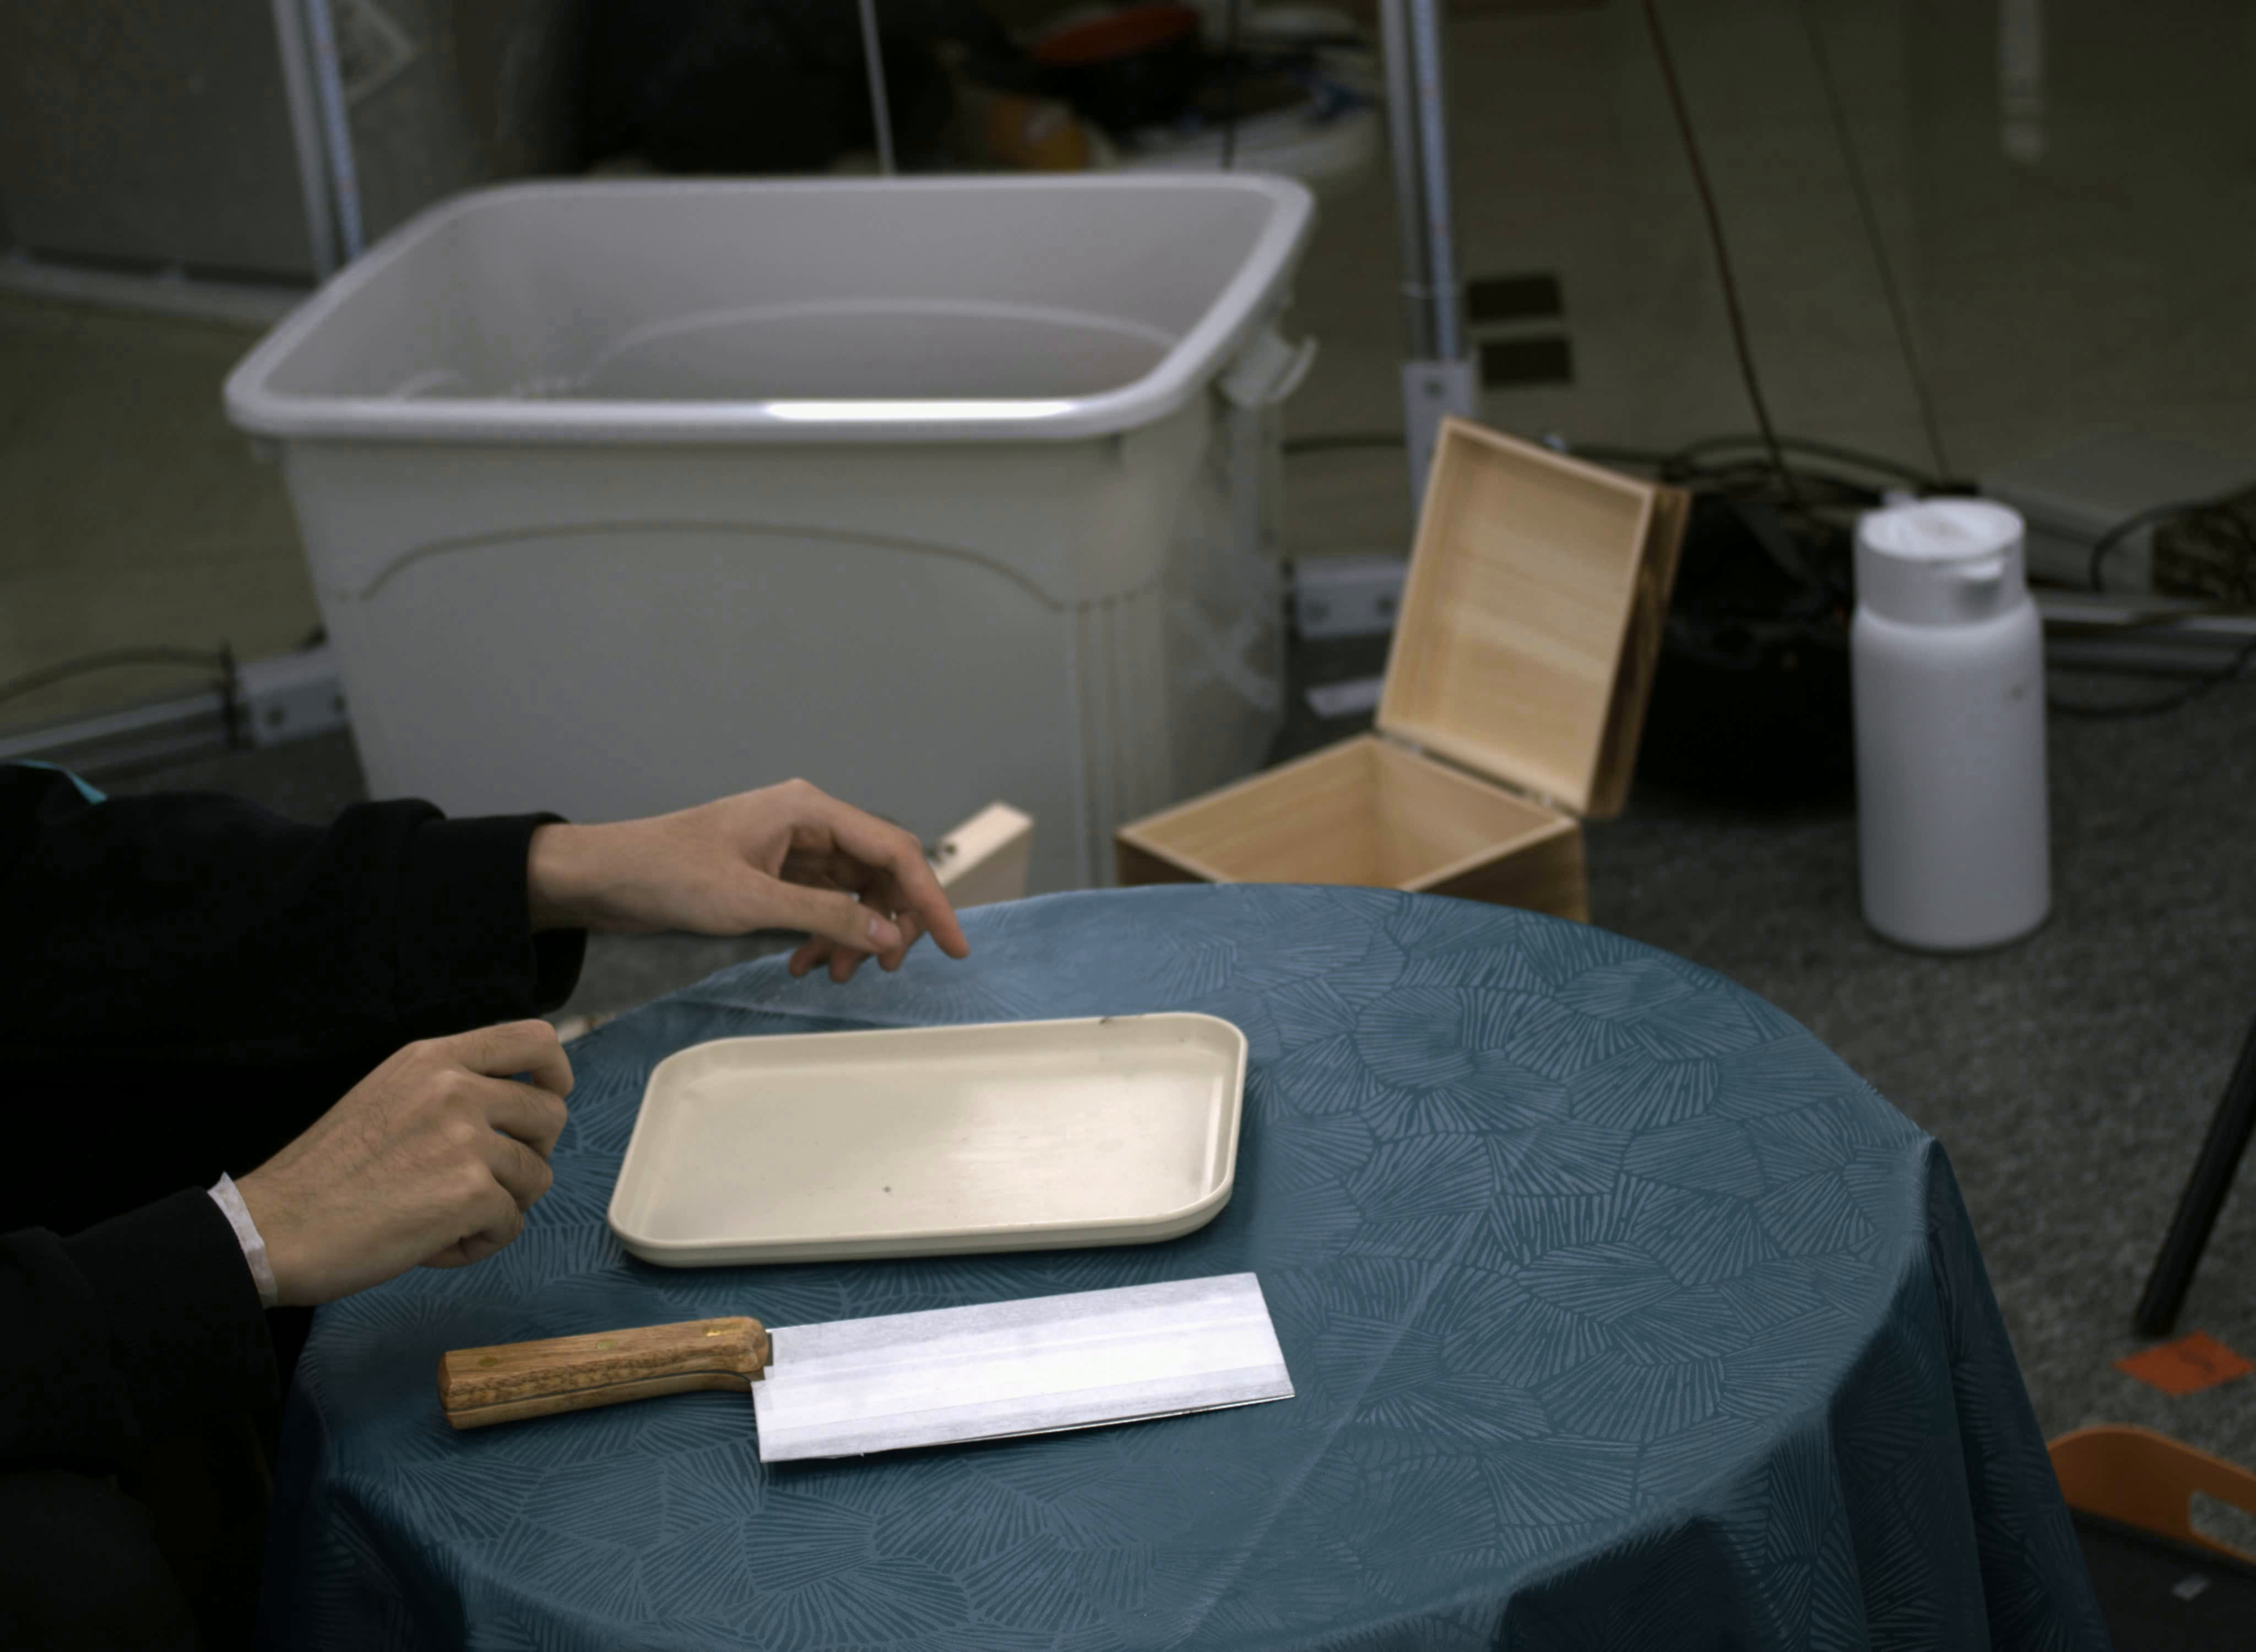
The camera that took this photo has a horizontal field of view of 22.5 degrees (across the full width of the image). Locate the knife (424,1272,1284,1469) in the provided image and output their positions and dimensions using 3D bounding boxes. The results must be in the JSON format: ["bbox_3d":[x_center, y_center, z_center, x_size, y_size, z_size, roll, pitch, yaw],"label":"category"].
[{"bbox_3d":[-0.098,0.199,2.025,0.305,0.021,0.091,-7,27,-6],"label":"knife"}]

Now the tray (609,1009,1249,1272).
[{"bbox_3d":[-0.074,0.122,2.179,0.239,0.018,0.169,-4,26,6],"label":"tray"}]
